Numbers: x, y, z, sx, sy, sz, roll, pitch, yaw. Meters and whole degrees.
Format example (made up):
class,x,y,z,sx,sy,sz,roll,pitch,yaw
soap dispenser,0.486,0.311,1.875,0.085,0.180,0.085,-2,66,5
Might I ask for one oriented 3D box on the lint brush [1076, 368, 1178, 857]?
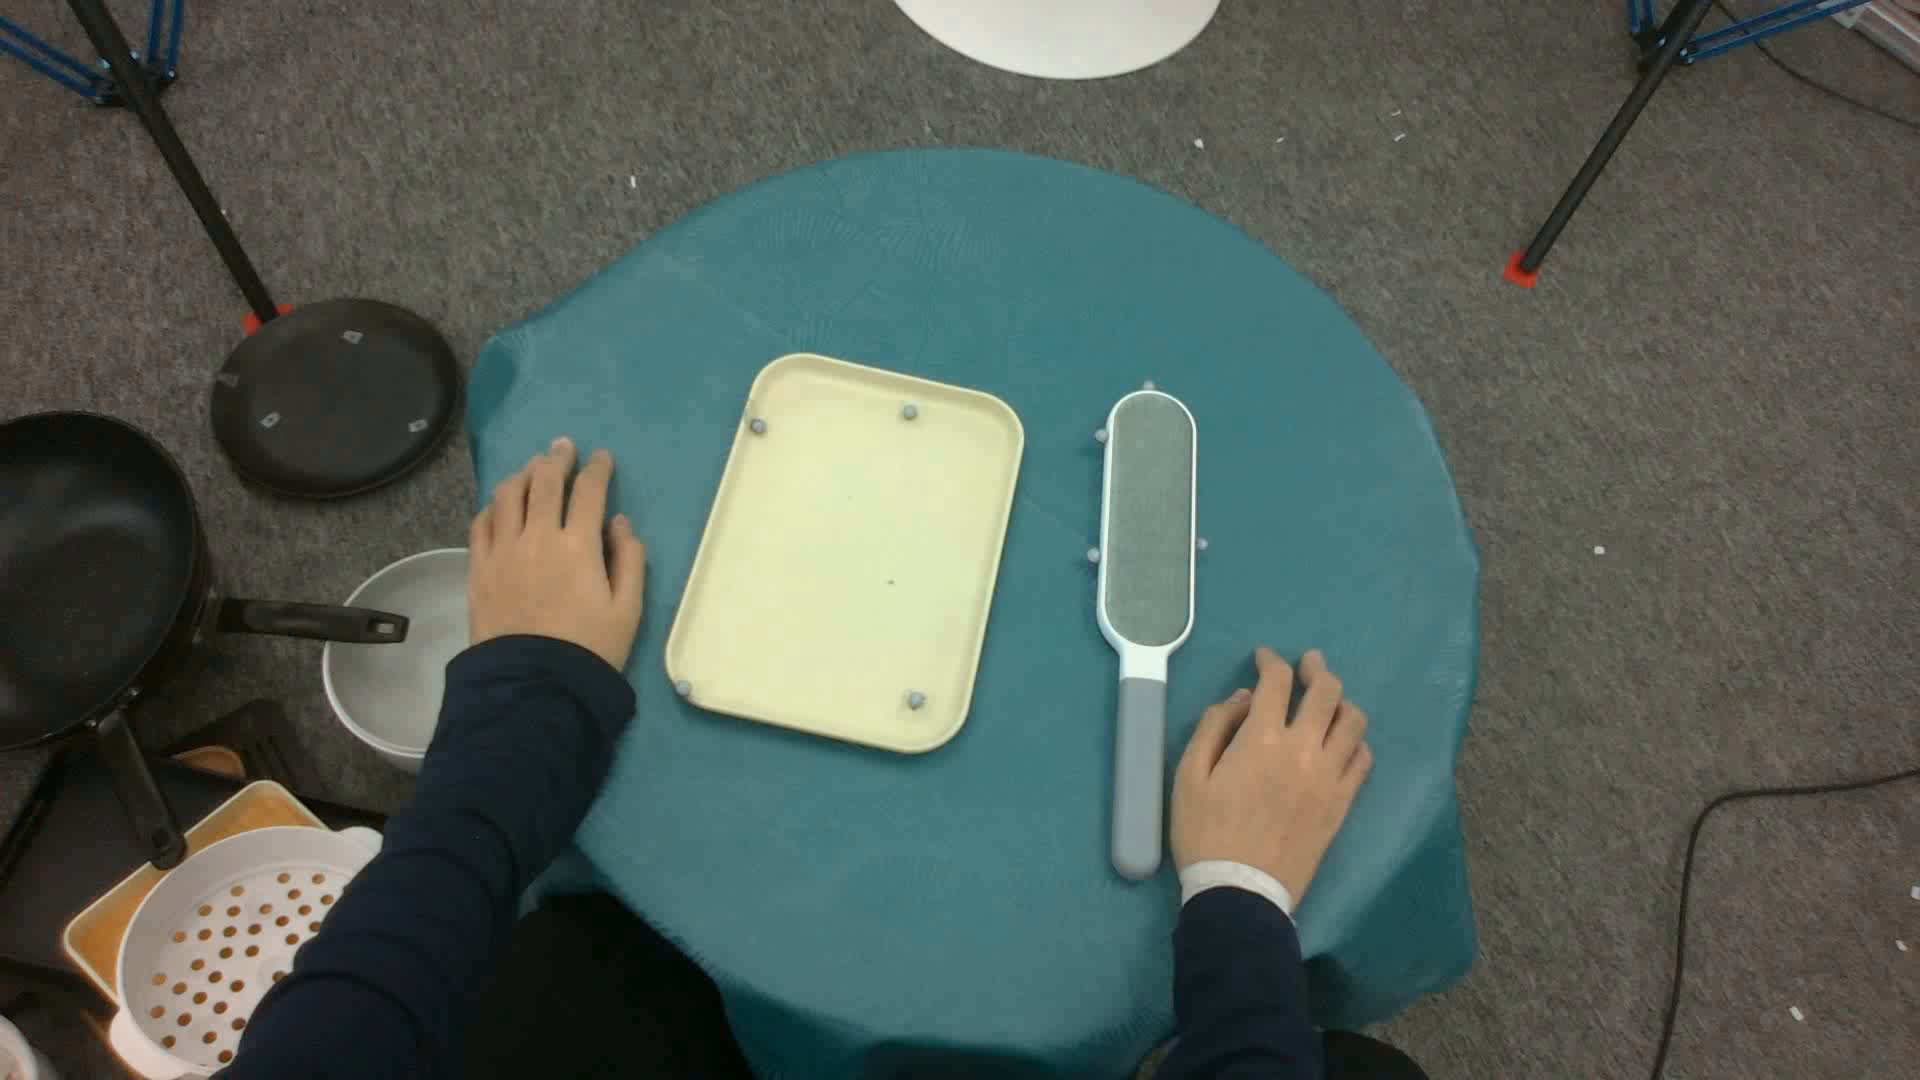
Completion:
class,x,y,z,sx,sy,sz,roll,pitch,yaw
lint brush,0.095,0.030,0.797,0.060,0.021,0.310,10,62,-9

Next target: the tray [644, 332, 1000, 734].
class,x,y,z,sx,sy,sz,roll,pitch,yaw
tray,-0.074,-0.009,0.798,0.171,0.017,0.240,13,62,-2
